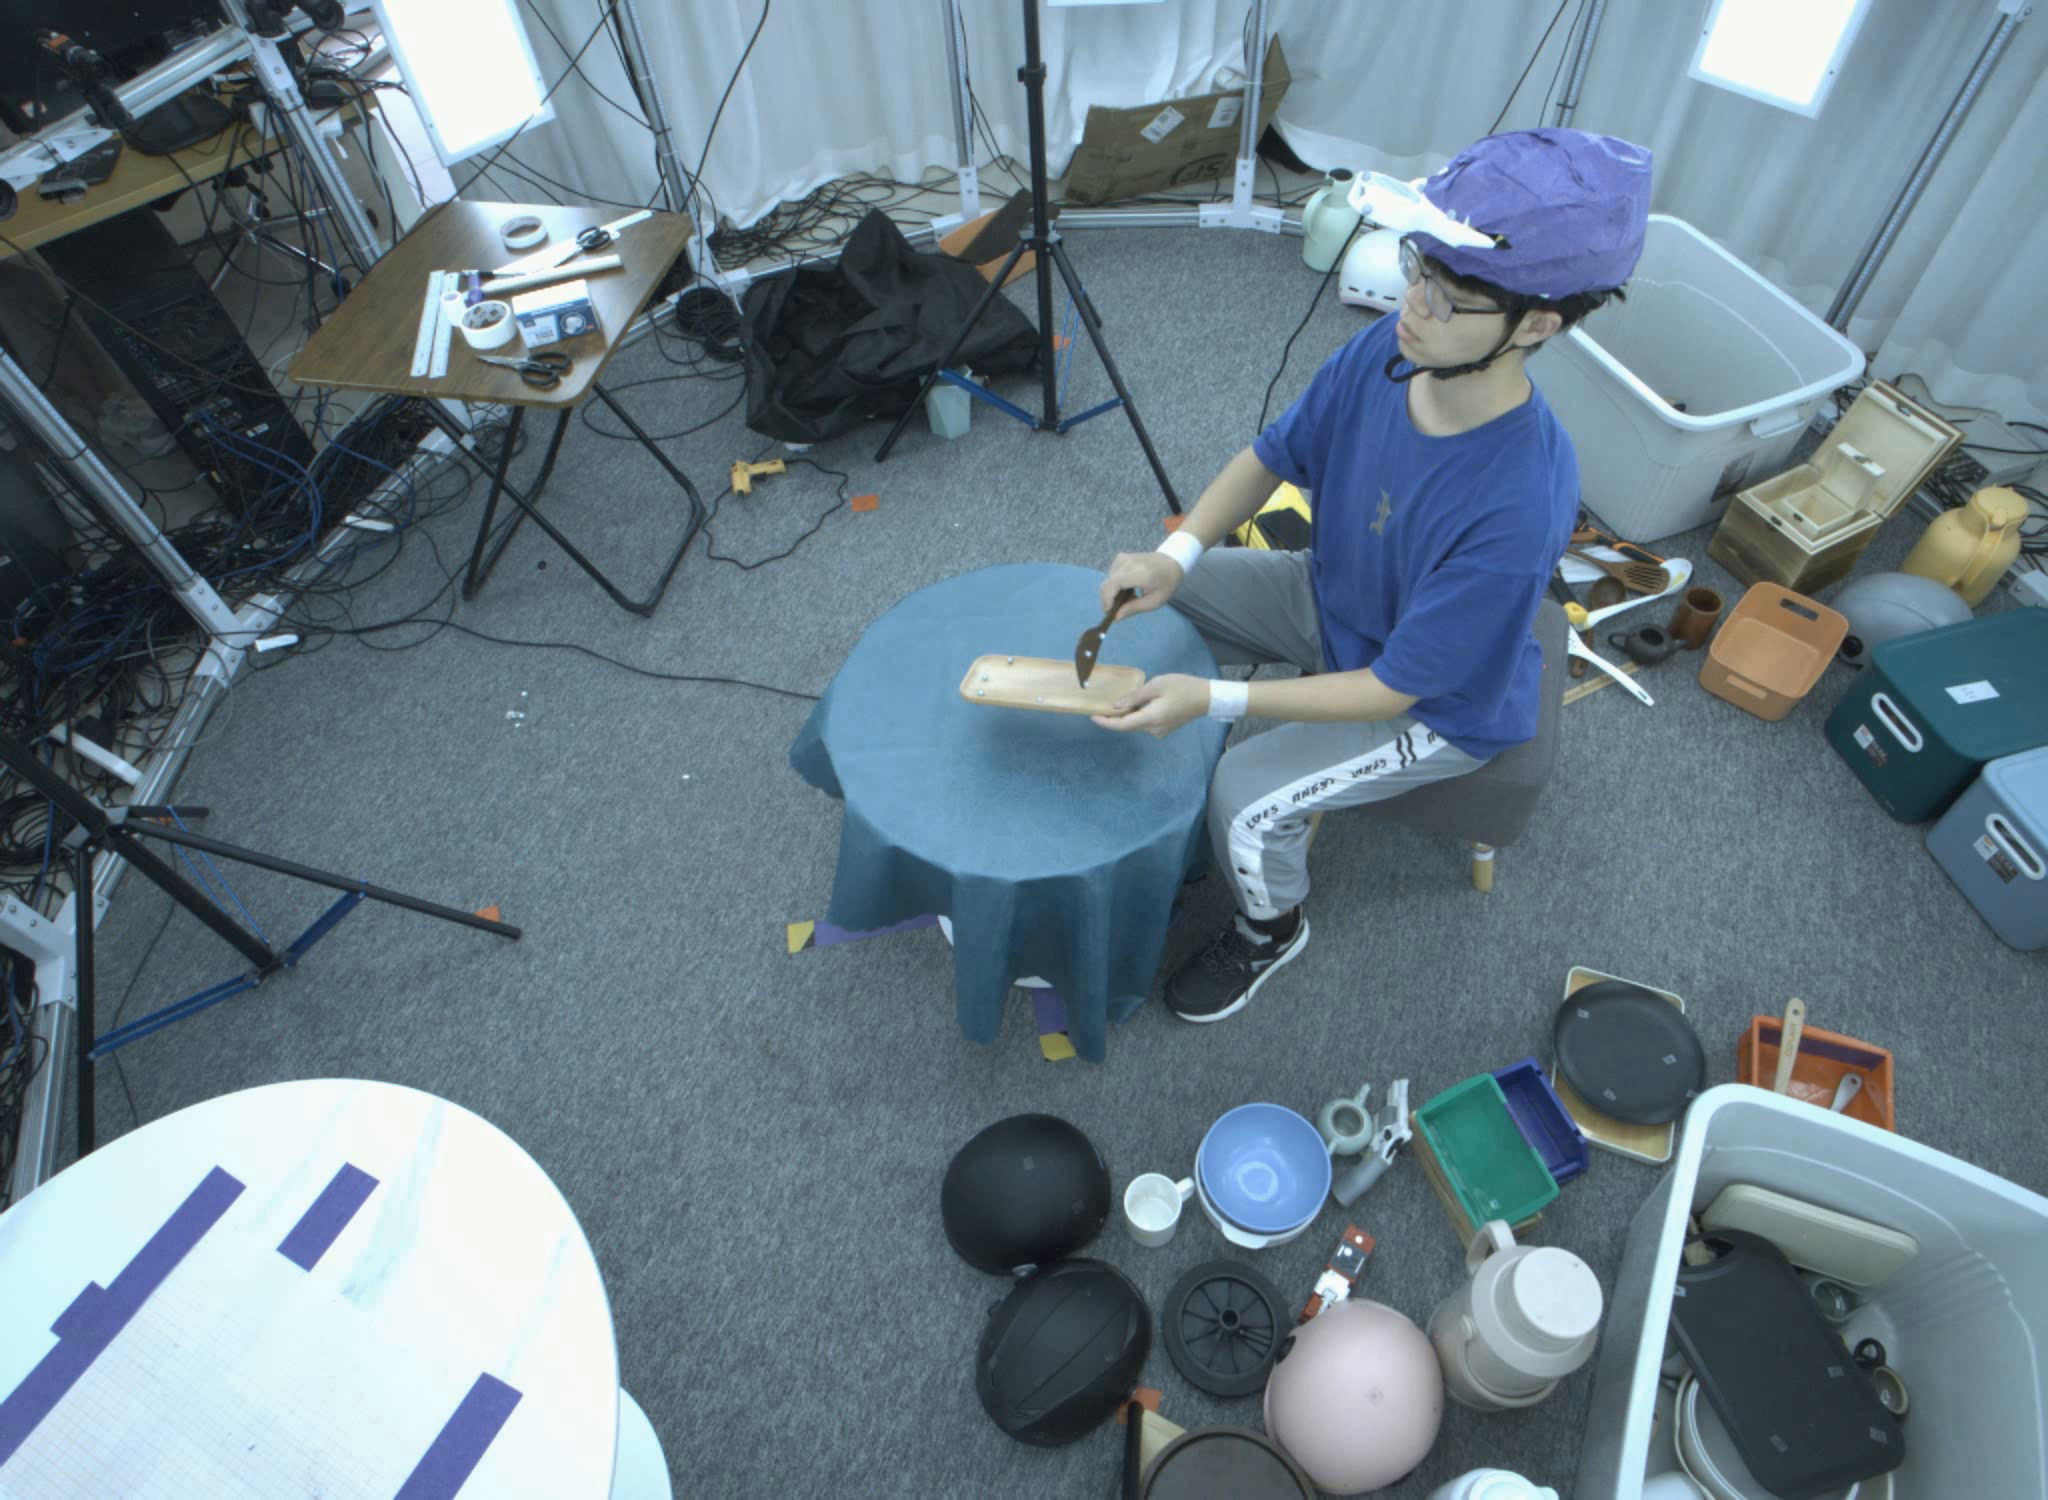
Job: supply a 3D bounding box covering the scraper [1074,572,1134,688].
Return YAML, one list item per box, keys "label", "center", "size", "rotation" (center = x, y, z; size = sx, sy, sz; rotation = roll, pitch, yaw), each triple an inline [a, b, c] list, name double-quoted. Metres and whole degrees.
- label: "scraper"
  center: [0.111, -0.177, 1.707]
  size: [0.010, 0.077, 0.211]
  rotation: [13, 49, 23]

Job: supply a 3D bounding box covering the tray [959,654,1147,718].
- label: "tray"
  center: [0.041, -0.090, 1.710]
  size: [0.248, 0.023, 0.130]
  rotation: [7, 37, 12]
